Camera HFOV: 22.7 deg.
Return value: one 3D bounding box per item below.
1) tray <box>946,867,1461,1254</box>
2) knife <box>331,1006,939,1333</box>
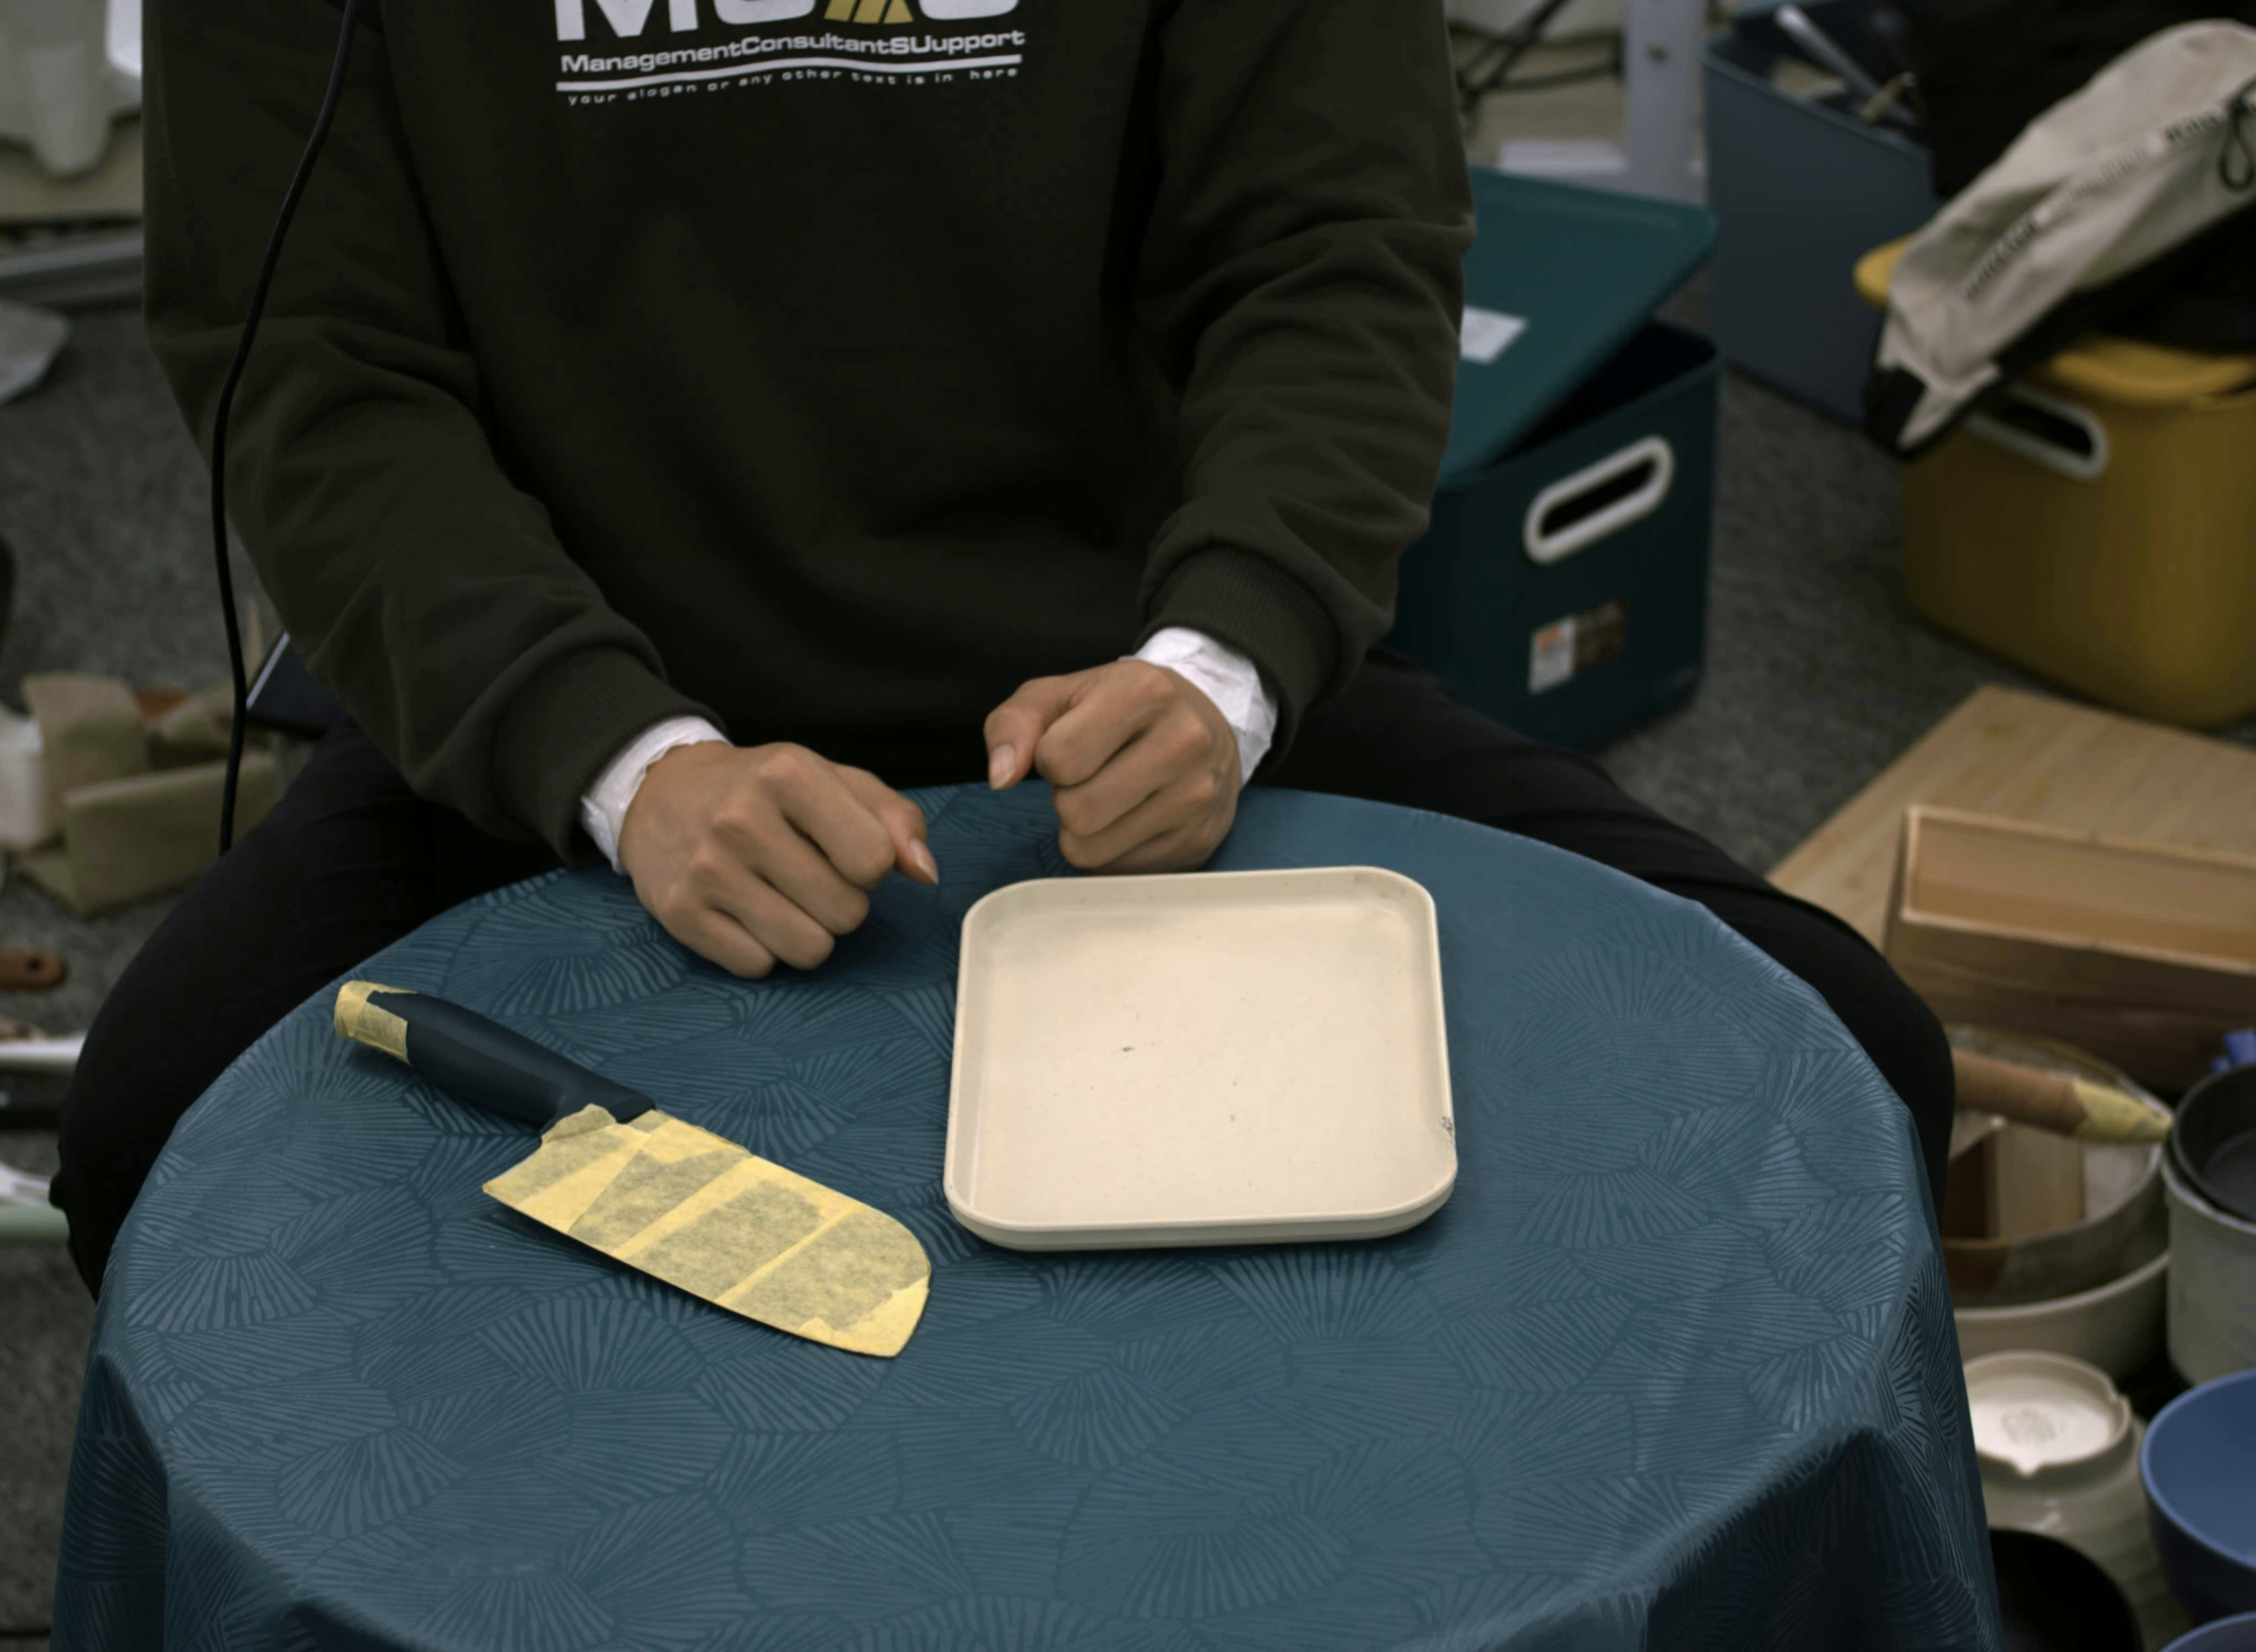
[{"bbox_3d":[0.025,0.079,1.922,0.170,0.017,0.243,-2,27,2],"label":"tray"},{"bbox_3d":[-0.173,0.116,1.873,0.289,0.027,0.082,21,34,37],"label":"knife"}]
